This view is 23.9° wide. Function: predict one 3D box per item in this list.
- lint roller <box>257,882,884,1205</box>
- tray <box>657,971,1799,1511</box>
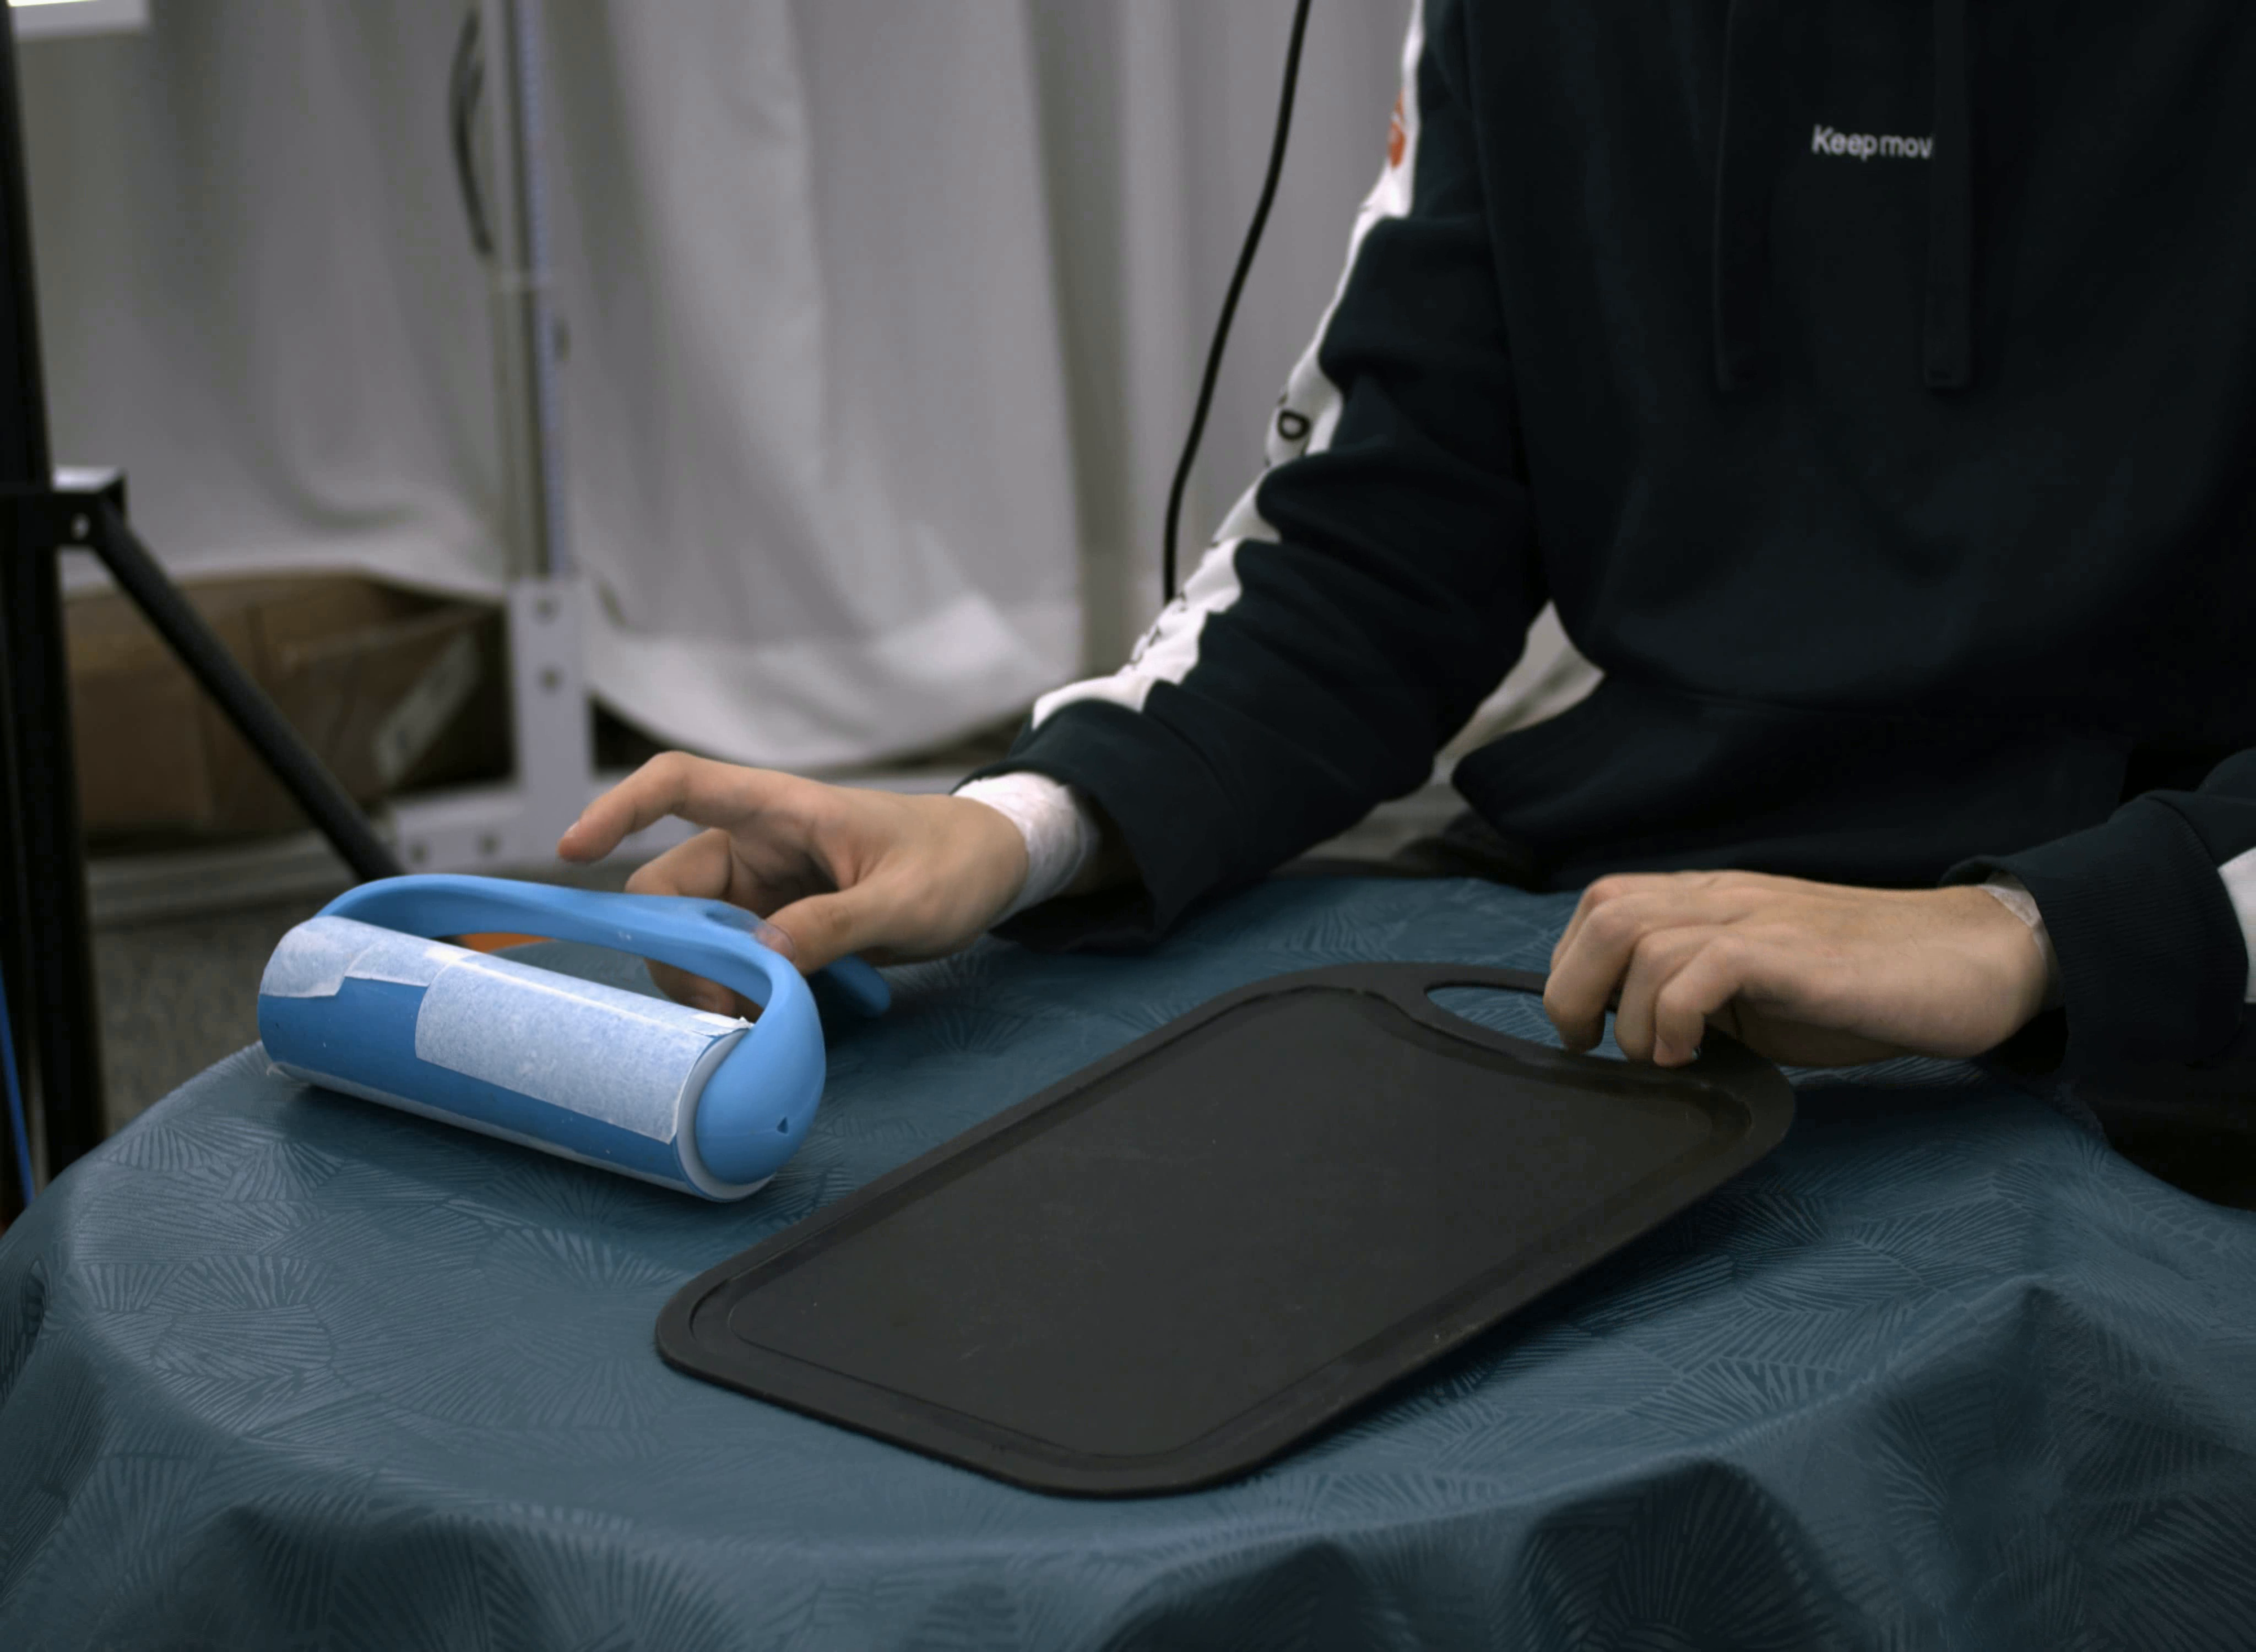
[{"bbox_3d":[-0.146,0.055,1.667,0.234,0.068,0.176,9,21,40],"label":"lint roller"},{"bbox_3d":[0.037,0.105,1.490,0.216,0.010,0.319,14,29,43],"label":"tray"}]
